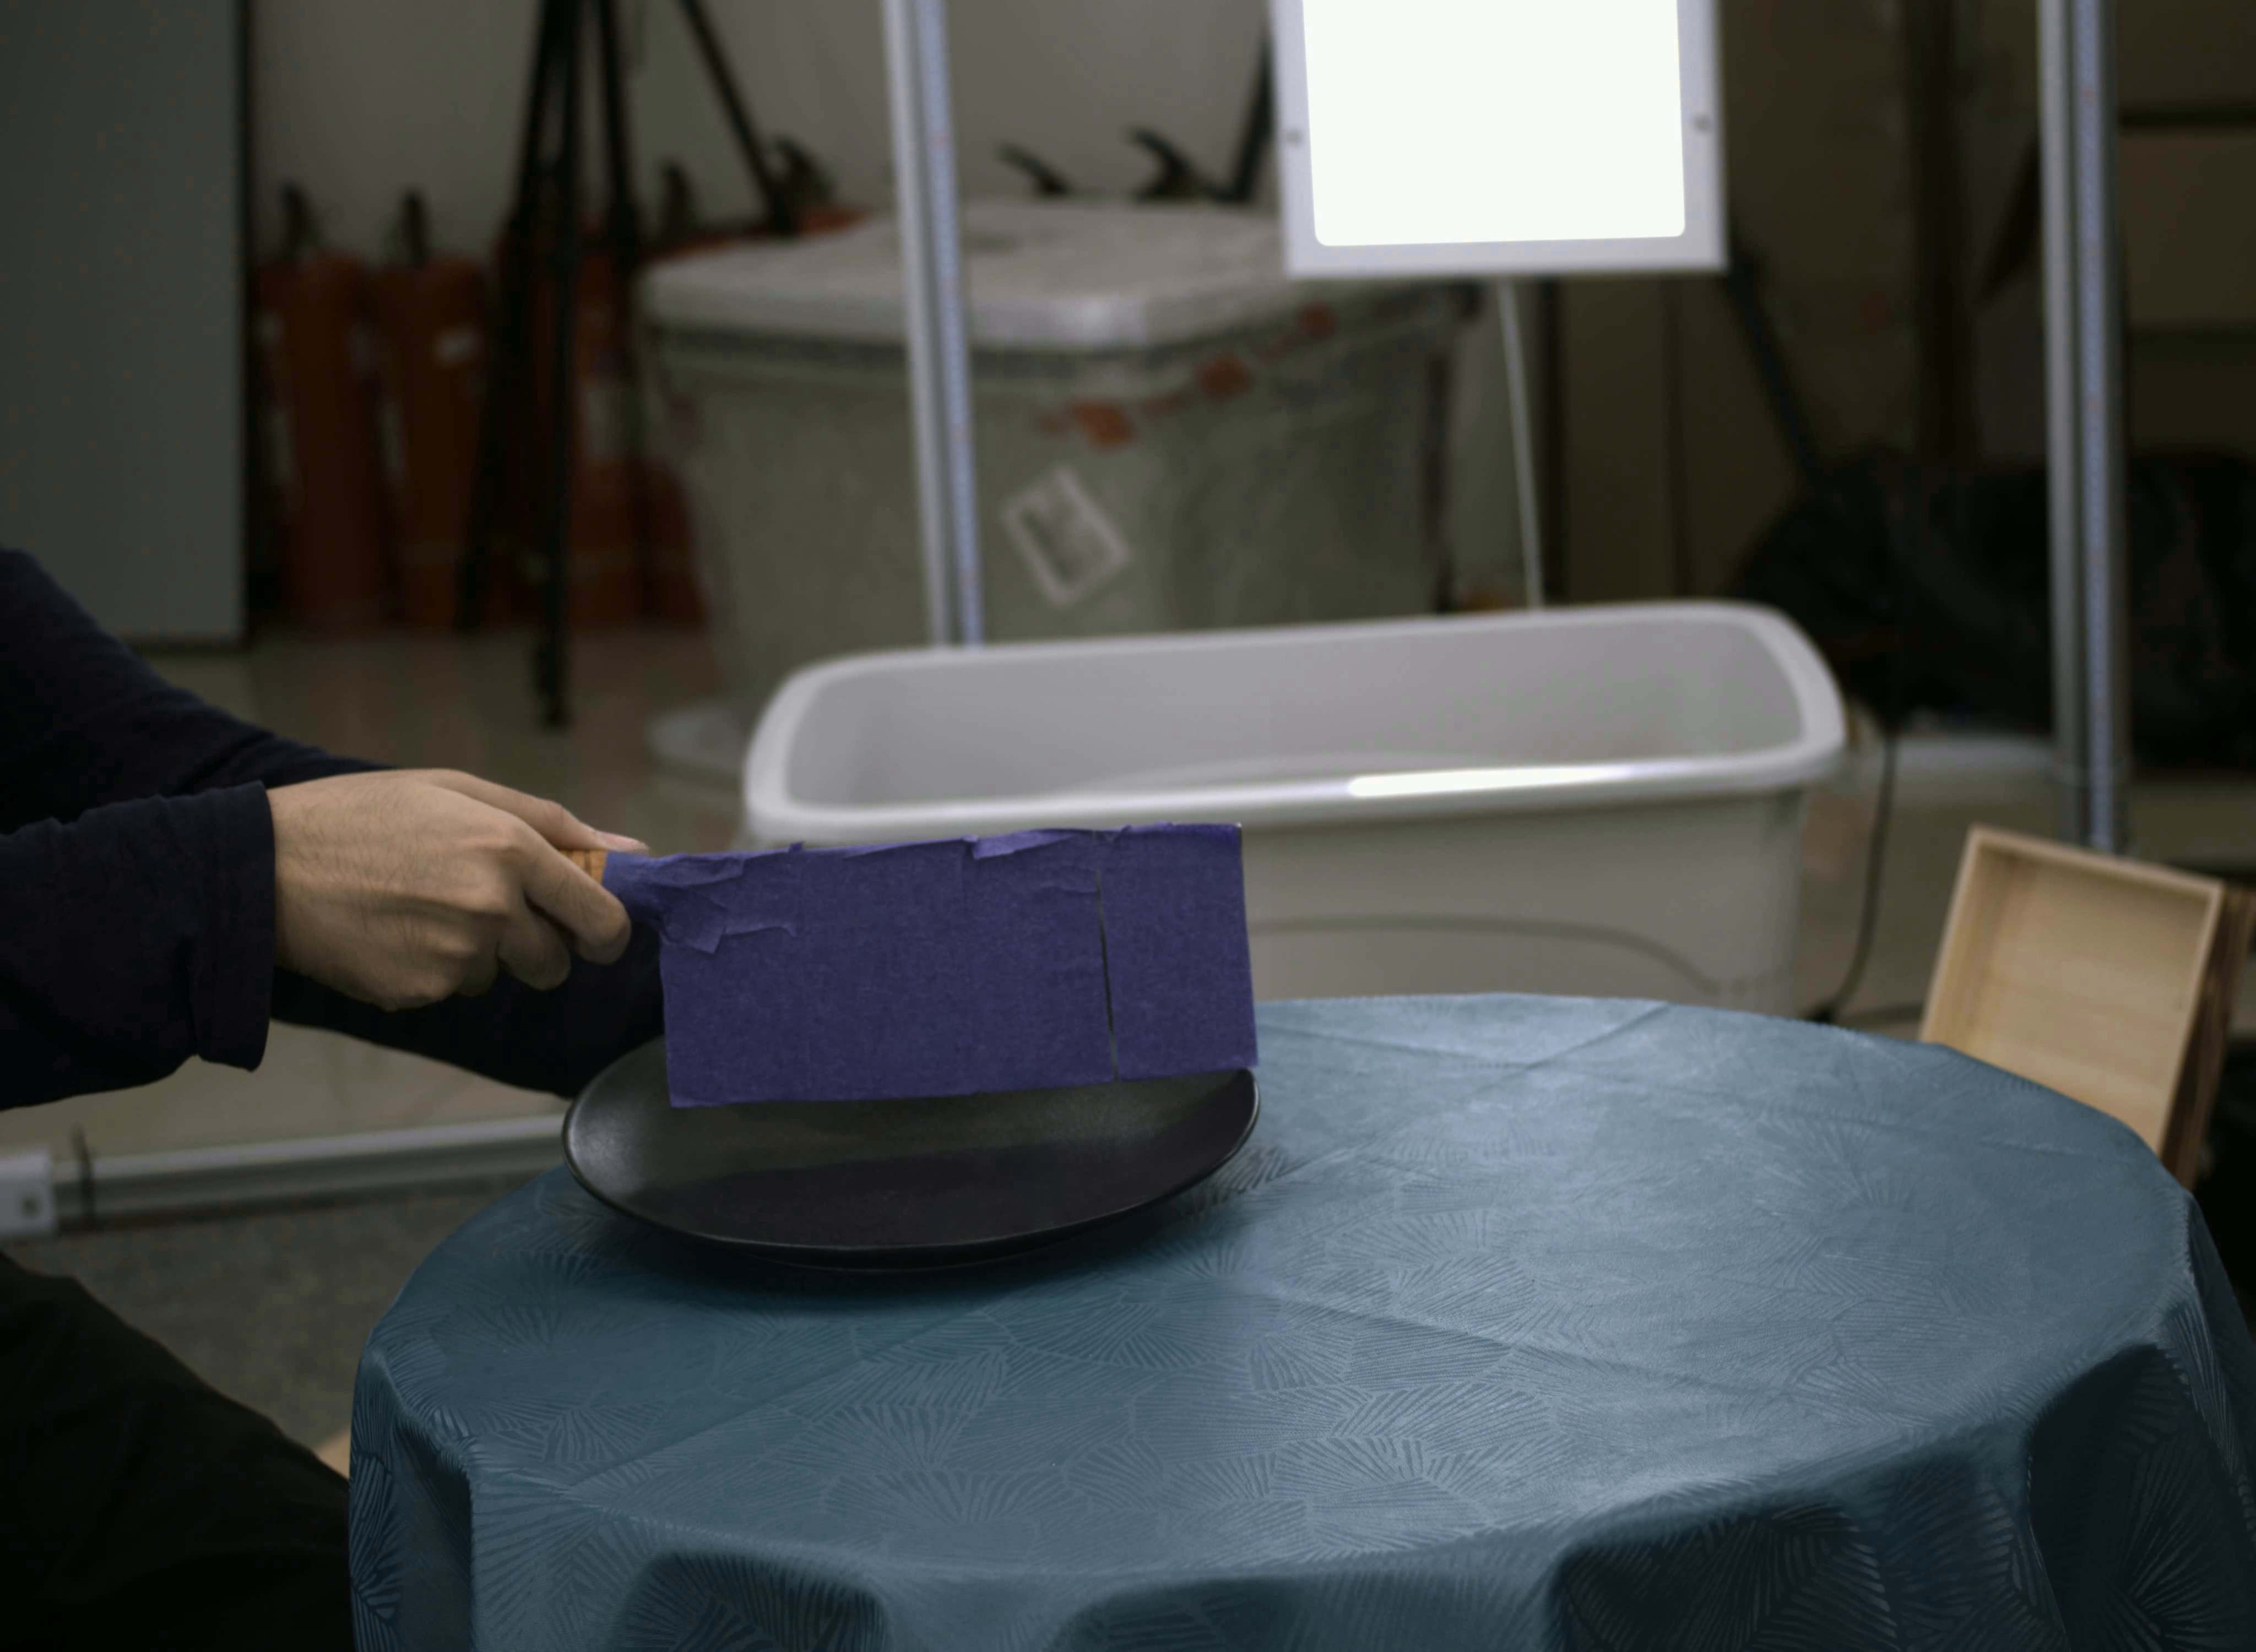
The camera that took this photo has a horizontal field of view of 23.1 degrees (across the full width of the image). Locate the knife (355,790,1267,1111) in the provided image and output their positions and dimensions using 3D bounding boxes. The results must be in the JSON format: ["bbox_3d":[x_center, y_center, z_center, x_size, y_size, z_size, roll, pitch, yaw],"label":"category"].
[{"bbox_3d":[-0.109,0.051,1.916,0.314,0.104,0.032,-4,6,1],"label":"knife"}]

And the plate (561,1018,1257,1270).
[{"bbox_3d":[-0.076,0.107,1.921,0.244,0.023,0.244,-4,20,0],"label":"plate"}]
